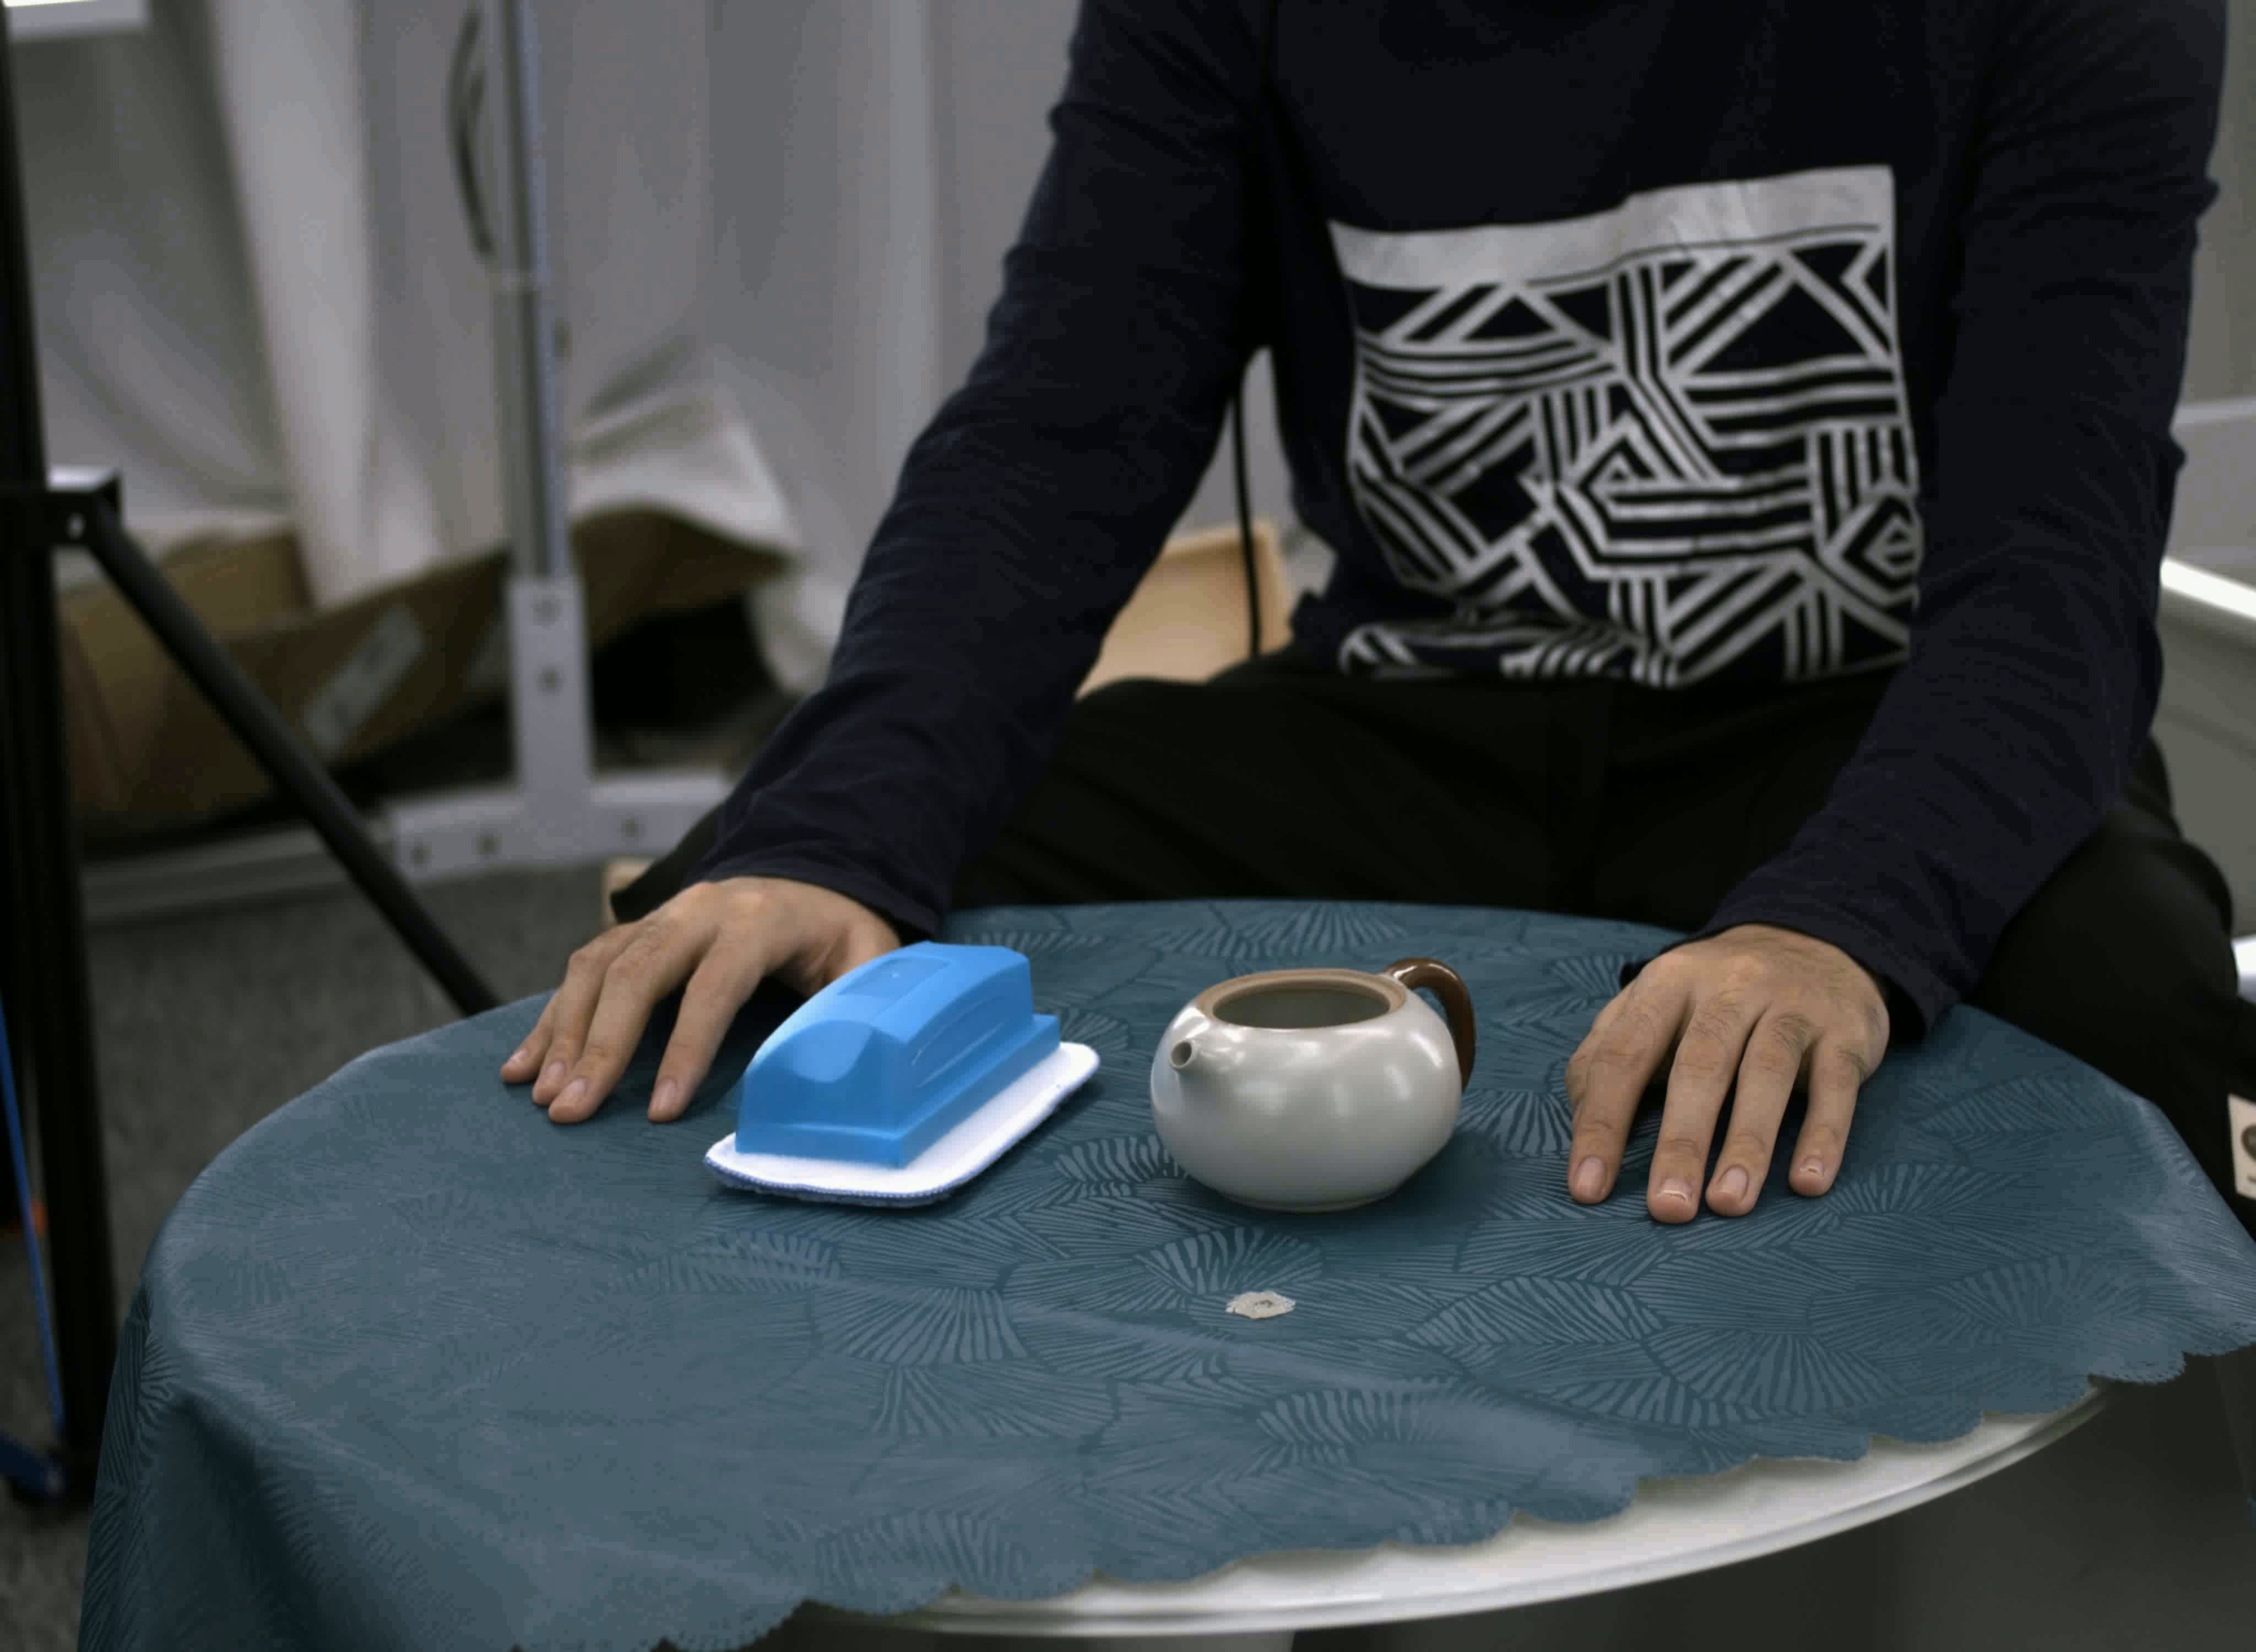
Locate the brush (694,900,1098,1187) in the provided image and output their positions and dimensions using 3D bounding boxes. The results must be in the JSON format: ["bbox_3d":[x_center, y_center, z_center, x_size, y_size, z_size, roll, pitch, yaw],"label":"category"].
[{"bbox_3d":[-0.069,0.062,1.620,0.085,0.056,0.142,8,21,23],"label":"brush"}]

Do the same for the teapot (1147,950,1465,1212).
[{"bbox_3d":[0.058,0.074,1.561,0.094,0.059,0.125,8,20,42],"label":"teapot"}]
